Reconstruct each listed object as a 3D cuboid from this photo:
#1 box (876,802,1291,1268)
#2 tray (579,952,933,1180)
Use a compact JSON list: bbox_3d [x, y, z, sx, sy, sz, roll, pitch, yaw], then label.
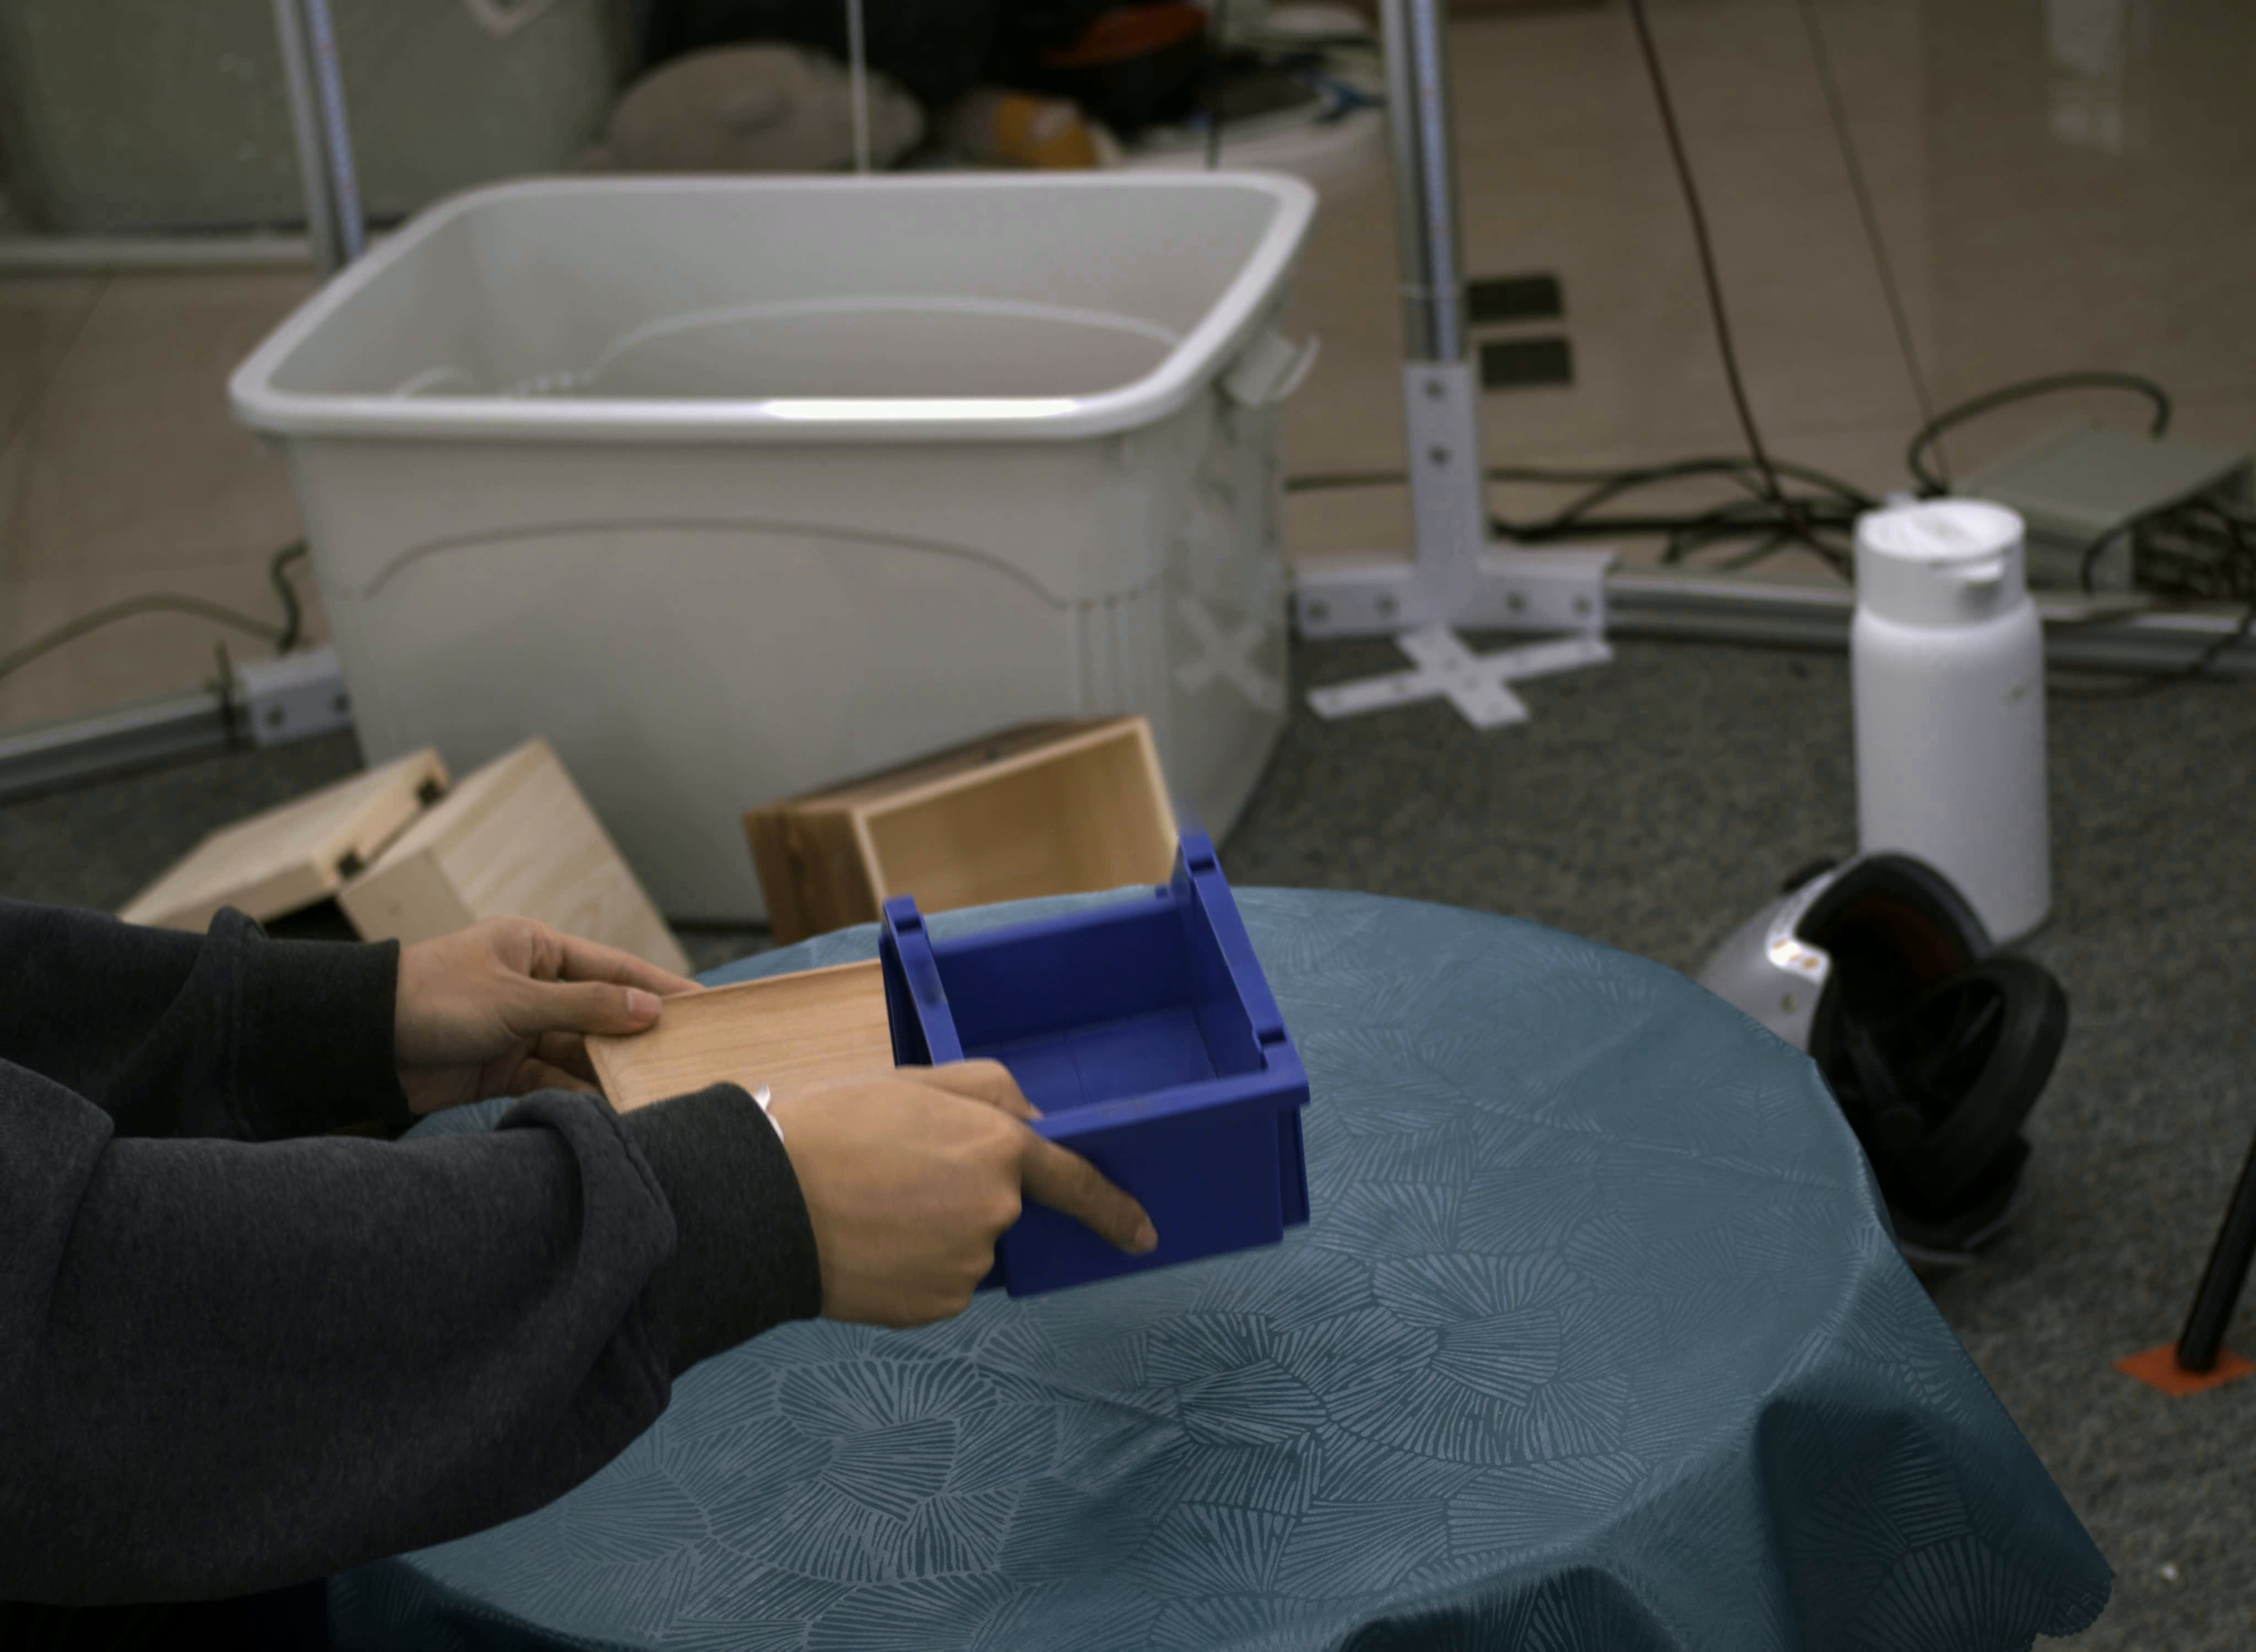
[{"bbox_3d":[-0.019,0.068,1.992,0.124,0.083,0.176,-11,41,-5],"label":"box"},{"bbox_3d":[-0.083,0.085,2.200,0.250,0.023,0.129,-10,27,-13],"label":"tray"}]
